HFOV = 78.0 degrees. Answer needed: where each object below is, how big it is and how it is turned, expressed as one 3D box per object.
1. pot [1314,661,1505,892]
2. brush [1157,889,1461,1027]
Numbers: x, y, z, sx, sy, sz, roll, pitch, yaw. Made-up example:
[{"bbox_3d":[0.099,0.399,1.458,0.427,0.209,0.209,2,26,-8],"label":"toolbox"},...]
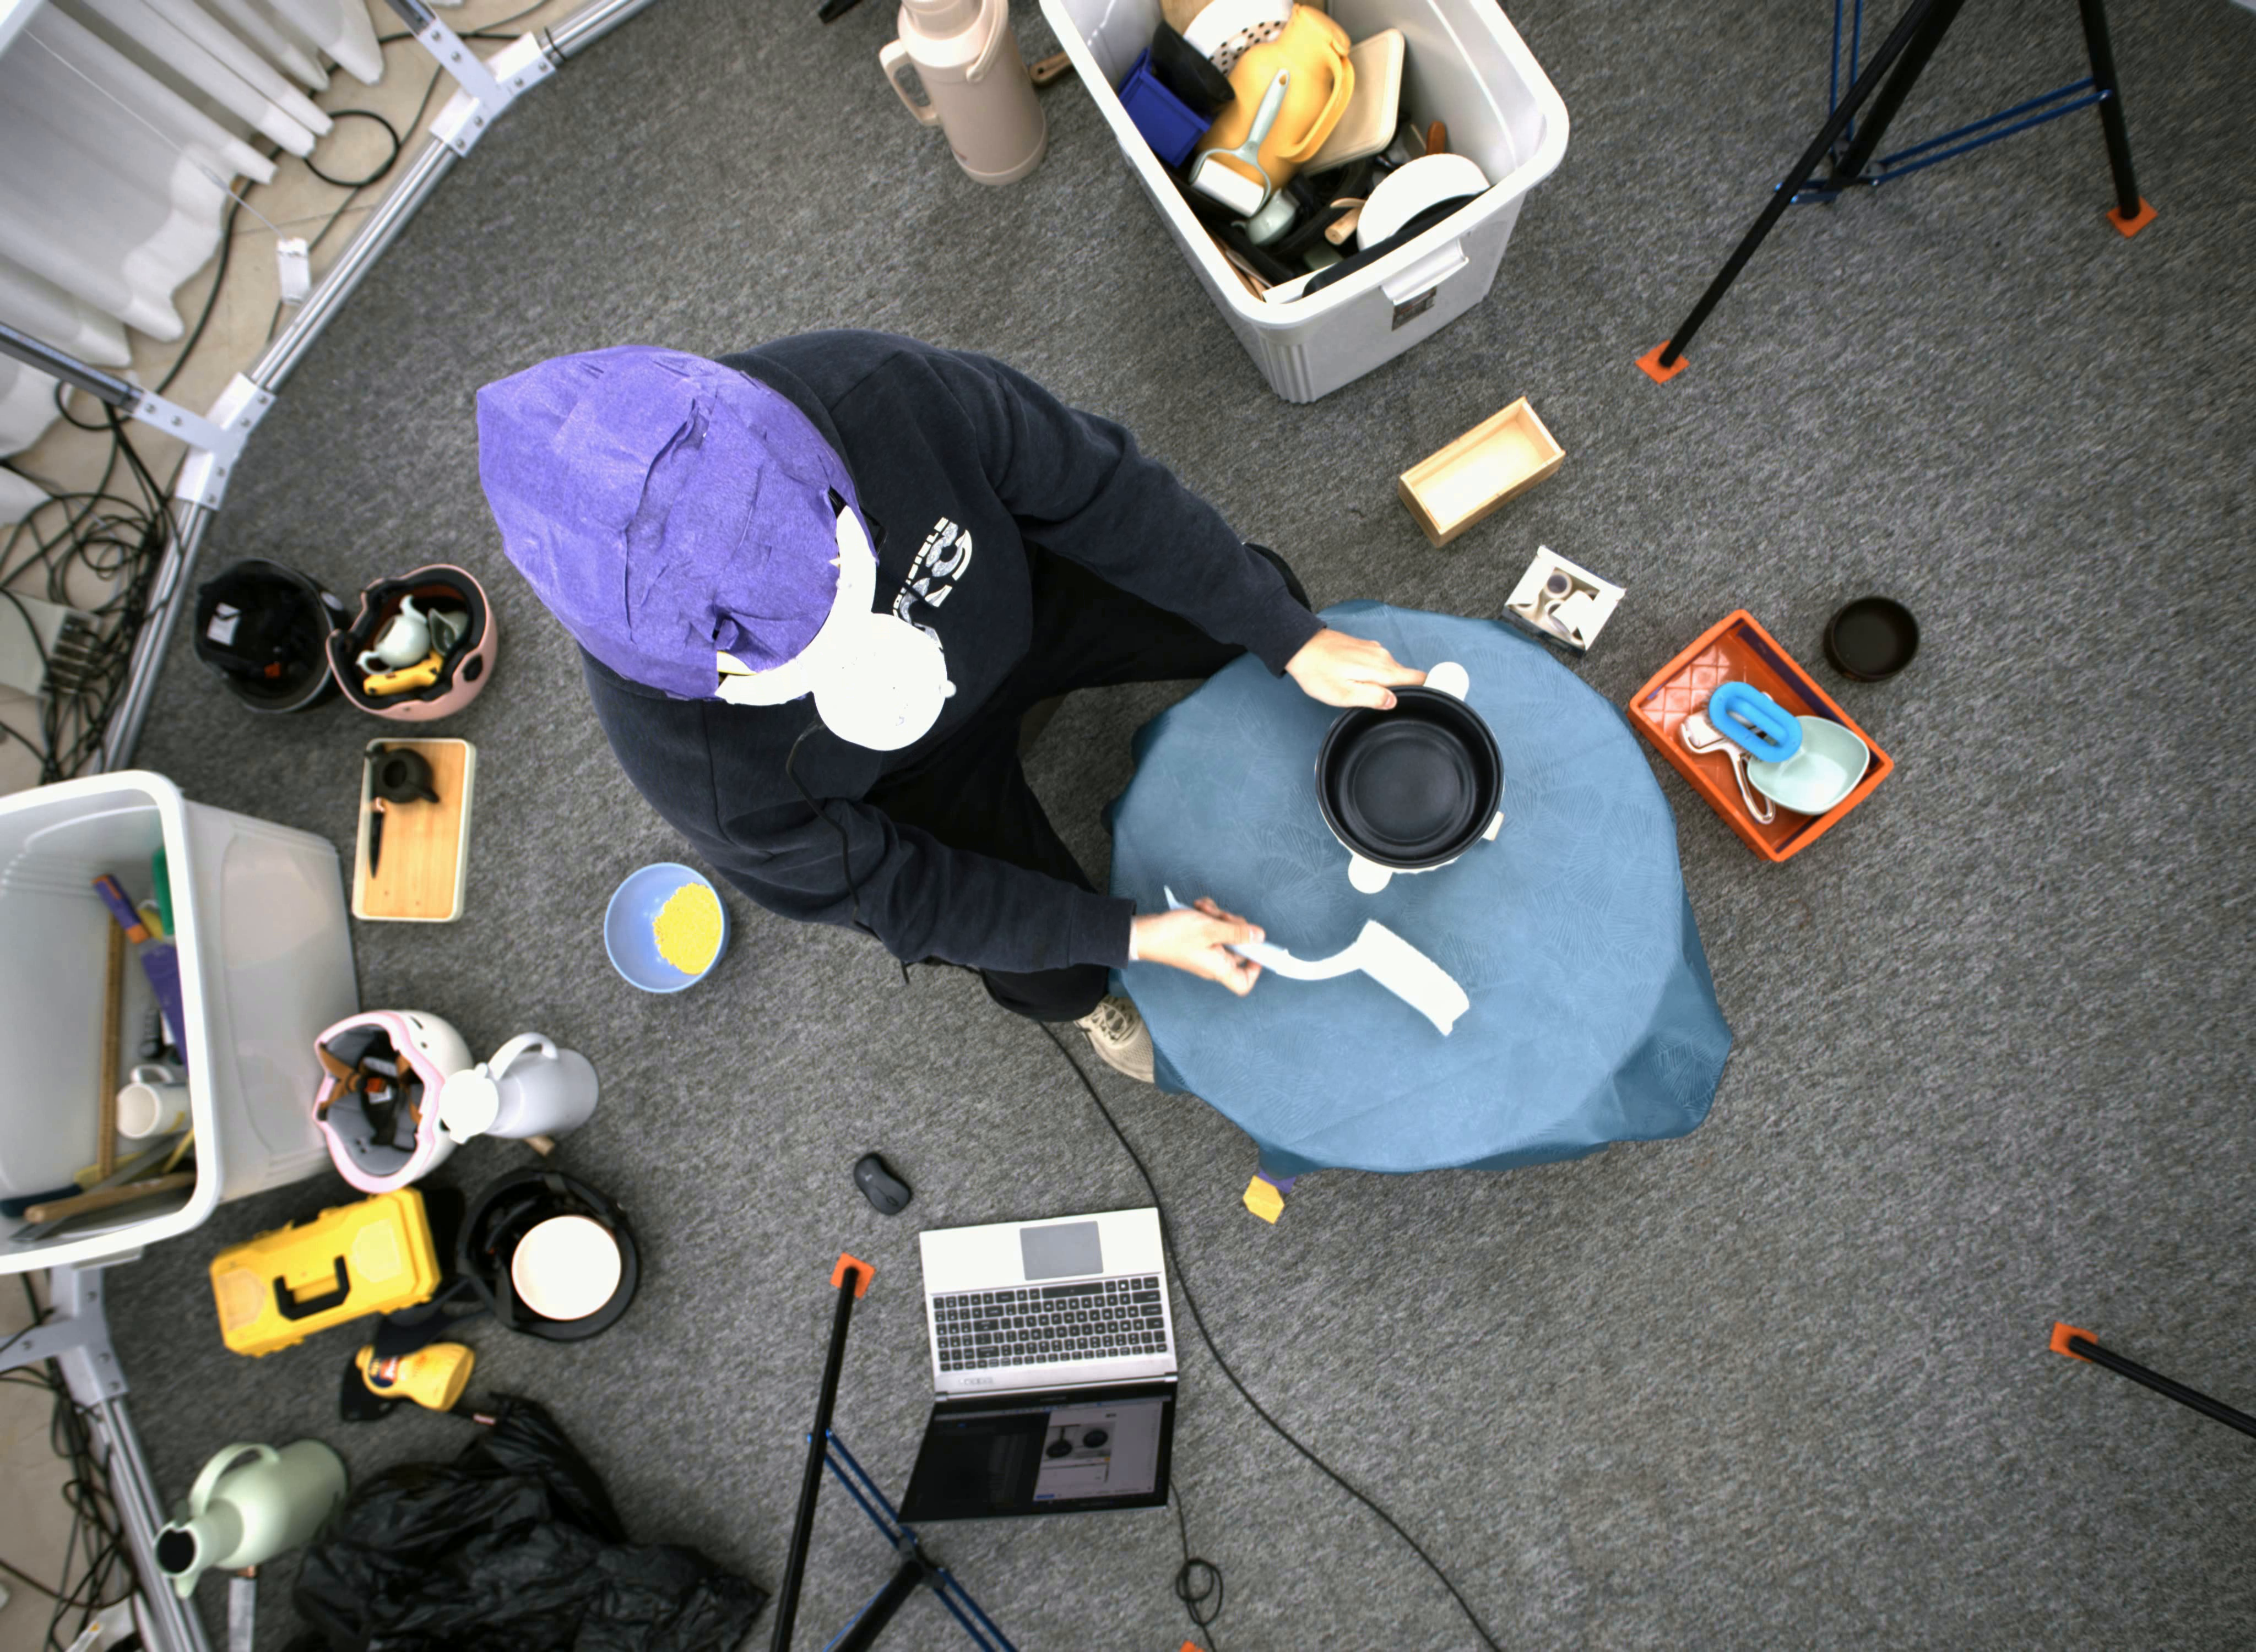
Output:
[{"bbox_3d":[0.288,-0.042,1.394,0.190,0.142,0.240,22,91,15],"label":"pot"},{"bbox_3d":[0.189,0.104,1.411,0.325,0.085,0.082,23,48,7],"label":"brush"}]
